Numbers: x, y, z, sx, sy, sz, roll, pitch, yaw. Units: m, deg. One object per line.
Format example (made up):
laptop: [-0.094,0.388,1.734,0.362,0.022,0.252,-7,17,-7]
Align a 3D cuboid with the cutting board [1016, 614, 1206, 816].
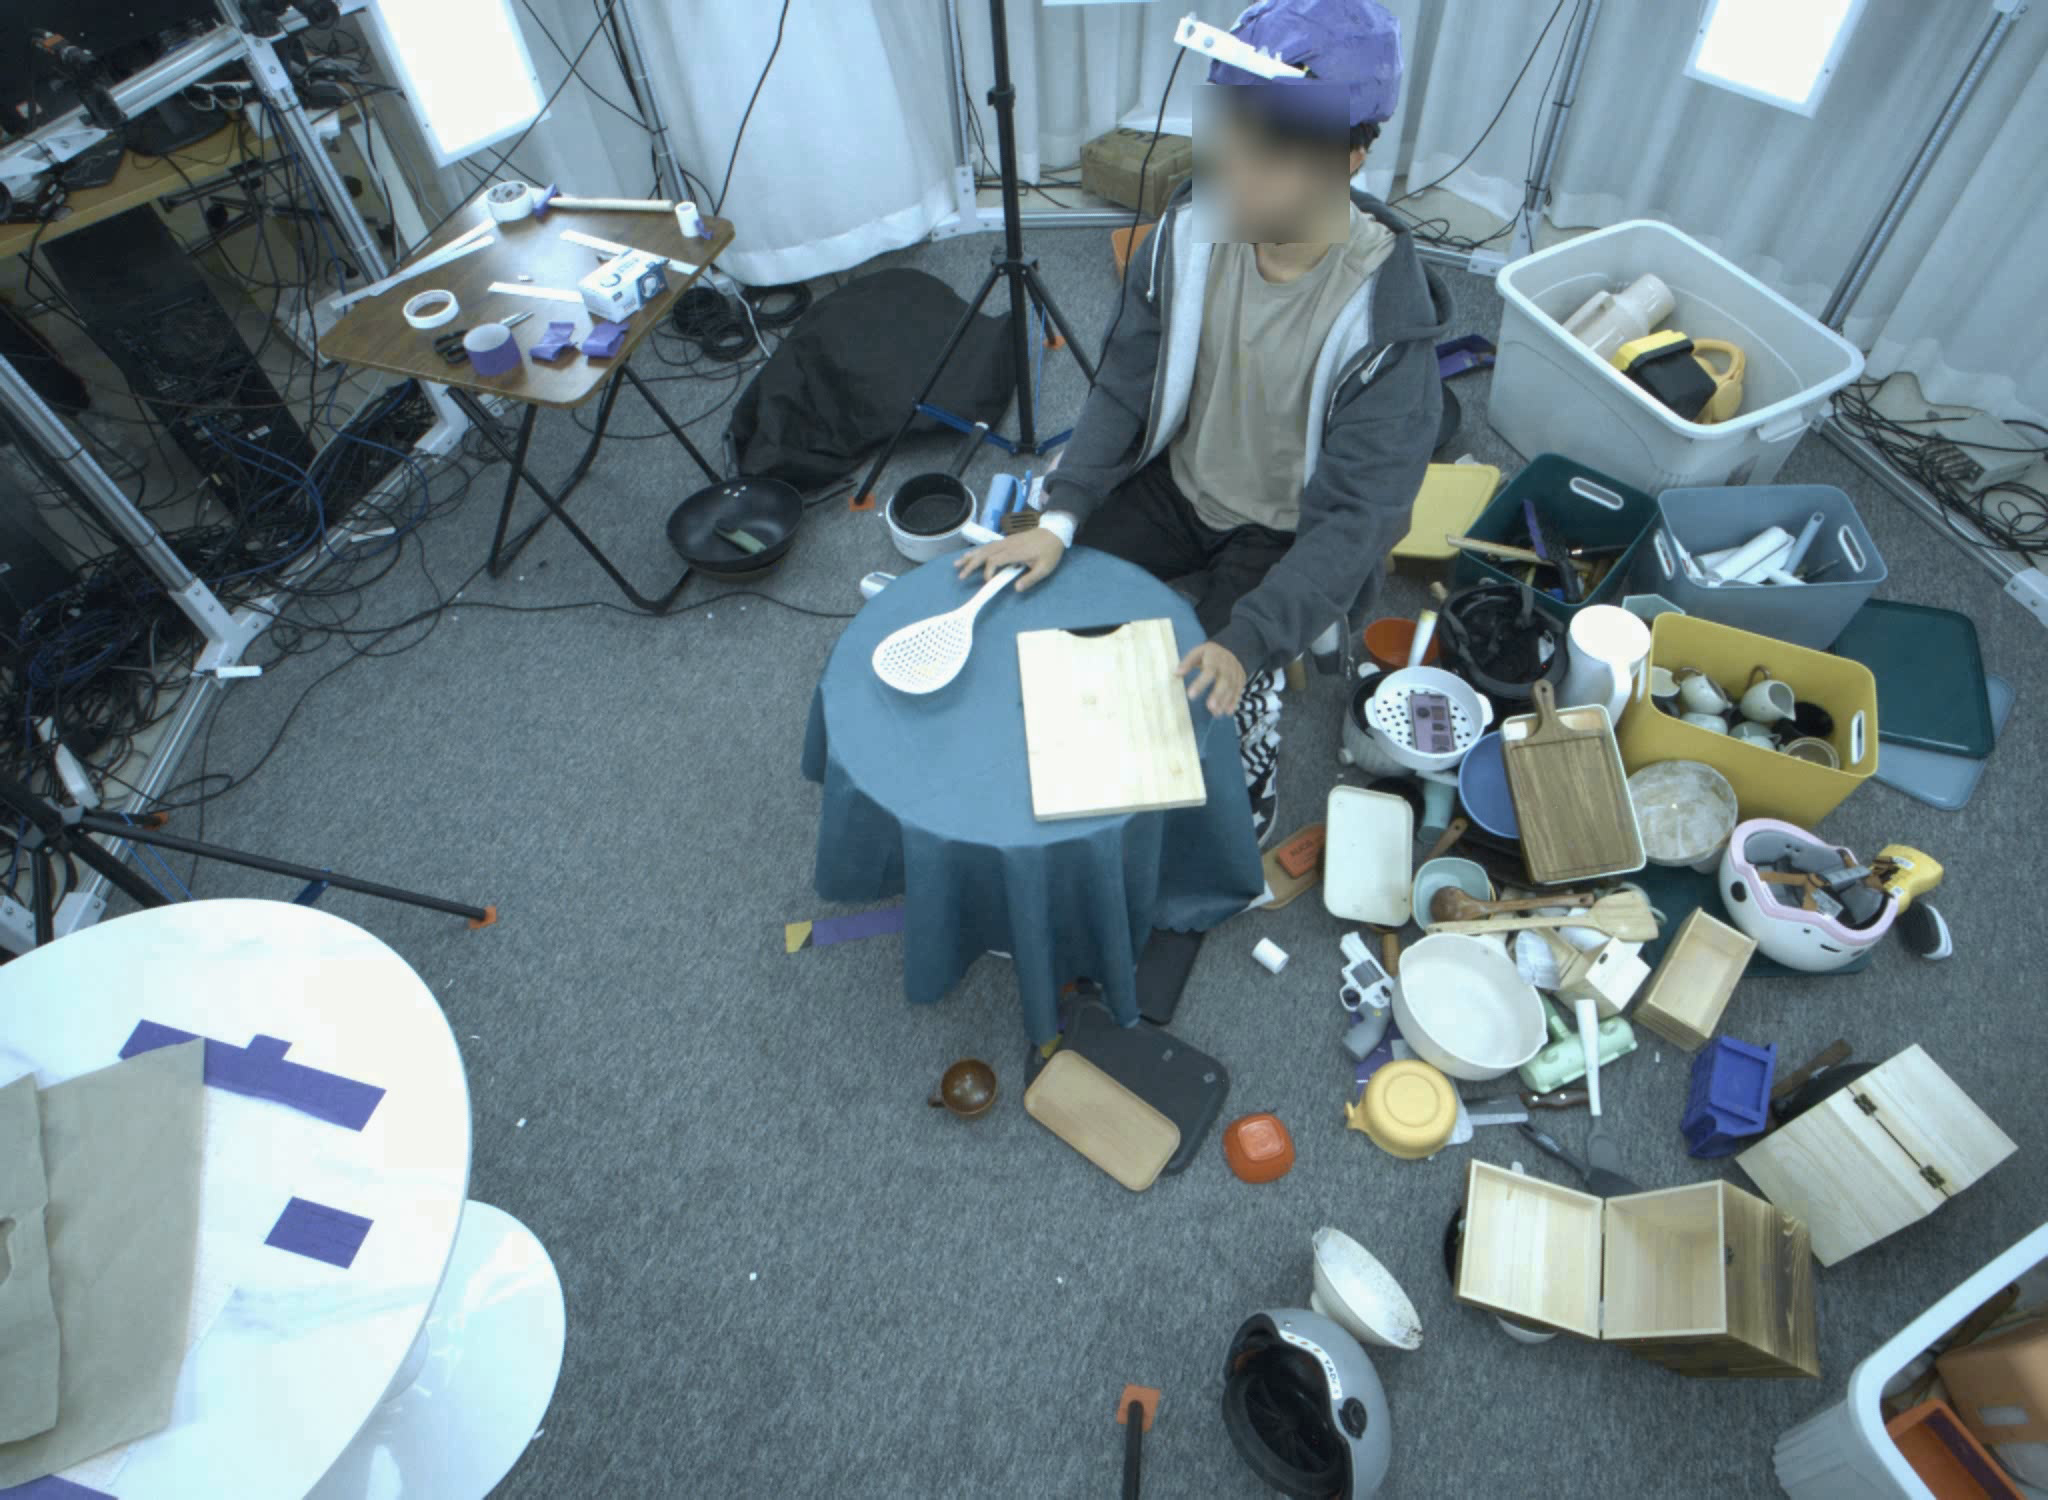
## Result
cutting board: [0.121,-0.056,1.816,0.251,0.024,0.344,-6,55,-2]

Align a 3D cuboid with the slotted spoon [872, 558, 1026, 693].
slotted spoon: [-0.095,-0.204,1.912,0.134,0.051,0.349,27,60,21]
